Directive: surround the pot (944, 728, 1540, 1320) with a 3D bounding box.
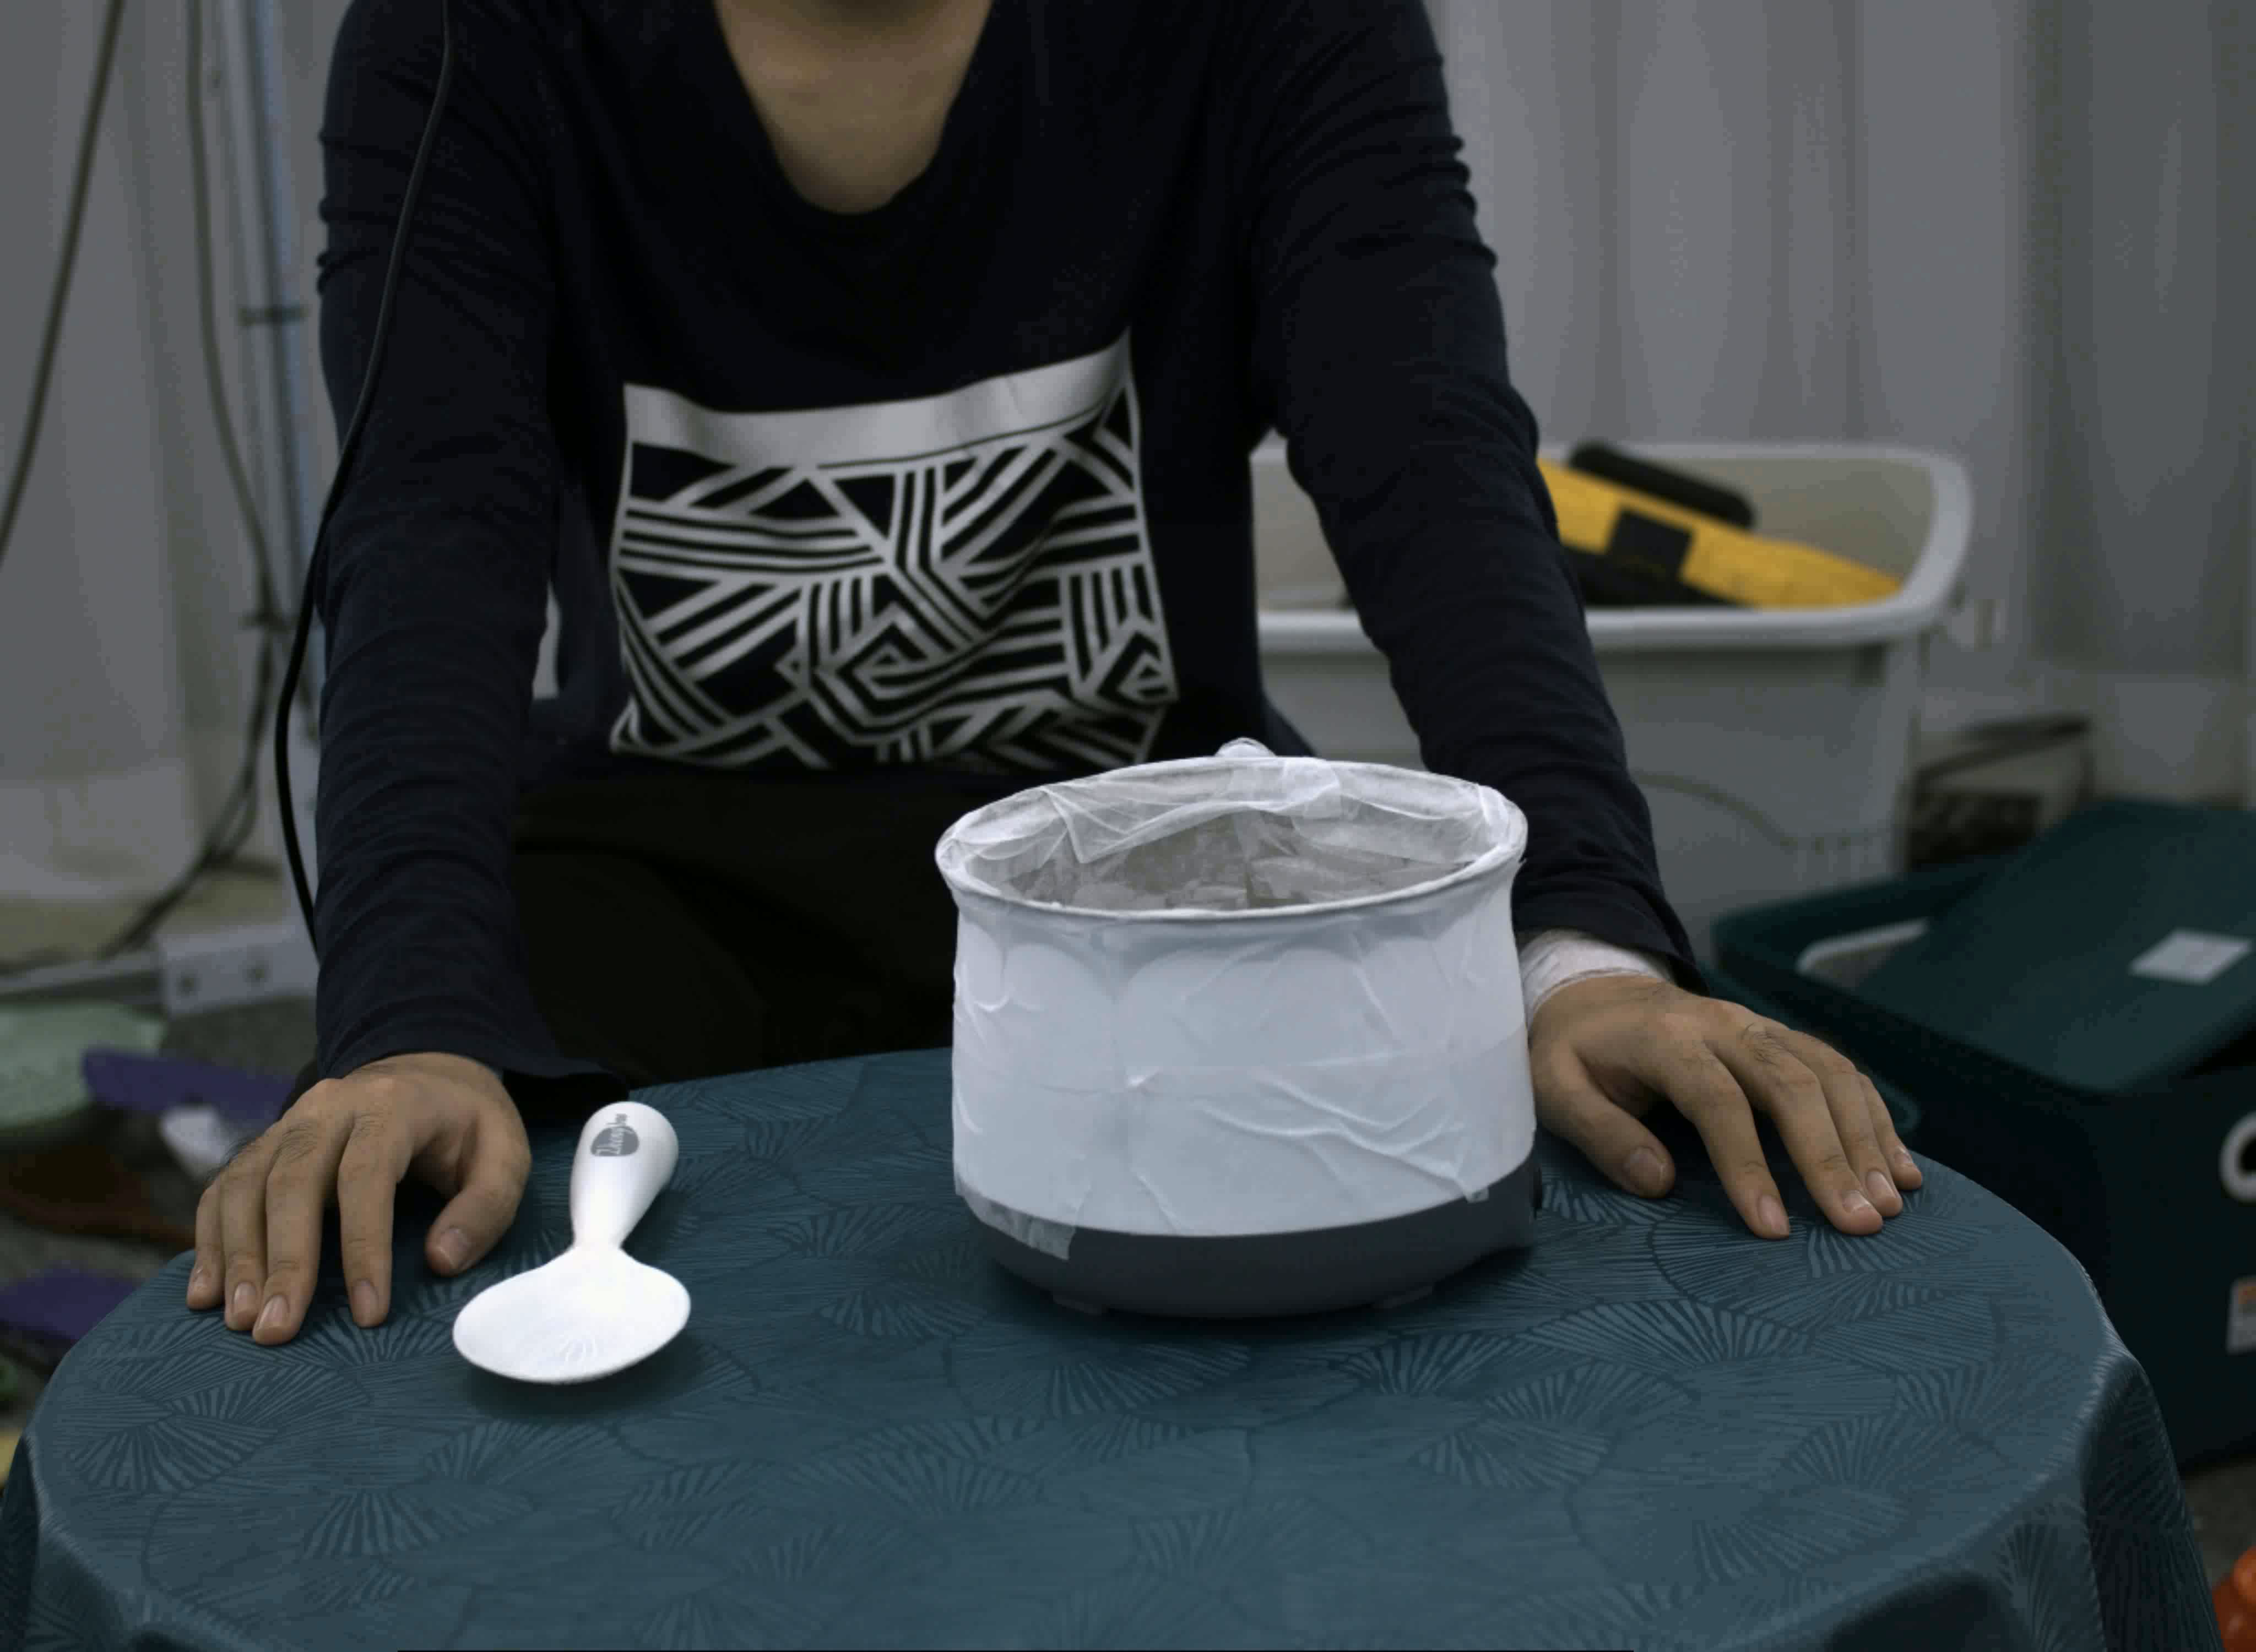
[{"bbox_3d":[0.035,0.055,1.667,0.178,0.136,0.235,0,16,2],"label":"pot"}]

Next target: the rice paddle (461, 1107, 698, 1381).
[{"bbox_3d":[-0.159,0.128,1.643,0.068,0.029,0.206,-5,14,1],"label":"rice paddle"}]
